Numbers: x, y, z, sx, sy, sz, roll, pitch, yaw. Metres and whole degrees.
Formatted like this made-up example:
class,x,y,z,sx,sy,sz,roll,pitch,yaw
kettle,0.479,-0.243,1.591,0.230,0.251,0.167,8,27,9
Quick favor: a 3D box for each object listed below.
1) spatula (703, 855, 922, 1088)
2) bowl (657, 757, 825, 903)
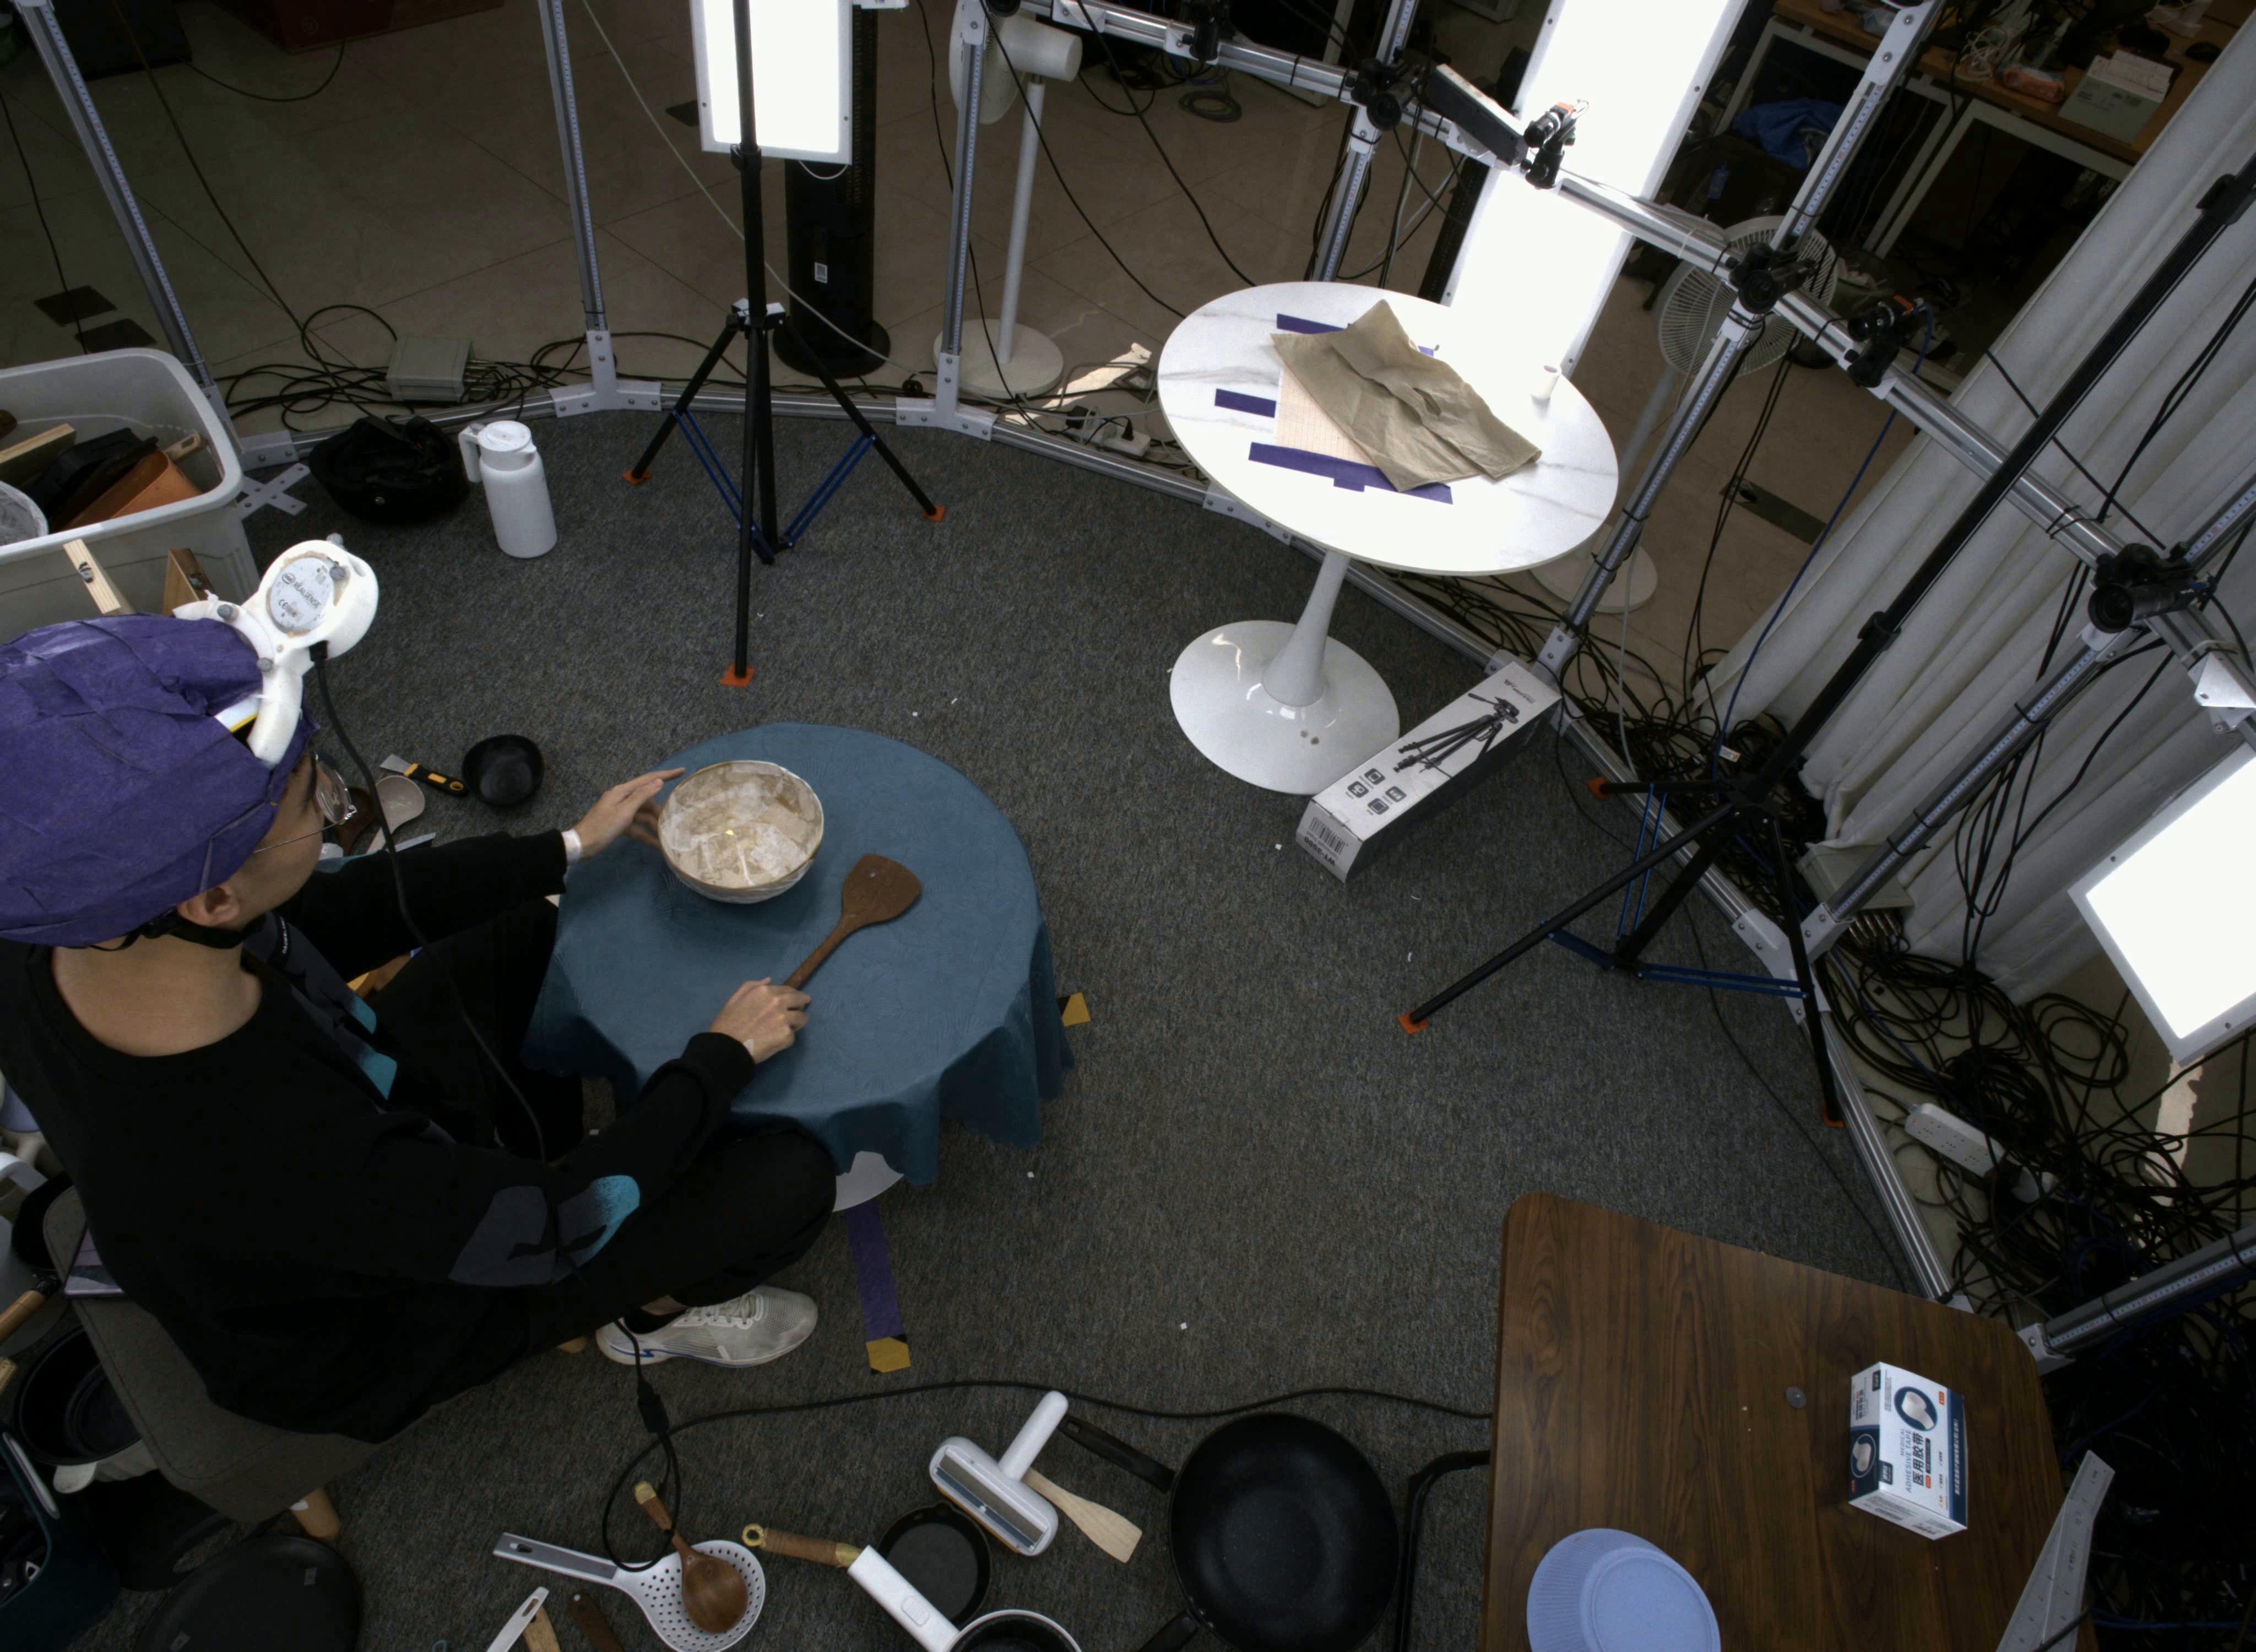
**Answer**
class,x,y,z,sx,sy,sz,roll,pitch,yaw
spatula,-0.392,0.172,1.597,0.094,0.016,0.384,30,51,10
bowl,-0.490,0.020,1.638,0.214,0.096,0.211,8,54,-9
